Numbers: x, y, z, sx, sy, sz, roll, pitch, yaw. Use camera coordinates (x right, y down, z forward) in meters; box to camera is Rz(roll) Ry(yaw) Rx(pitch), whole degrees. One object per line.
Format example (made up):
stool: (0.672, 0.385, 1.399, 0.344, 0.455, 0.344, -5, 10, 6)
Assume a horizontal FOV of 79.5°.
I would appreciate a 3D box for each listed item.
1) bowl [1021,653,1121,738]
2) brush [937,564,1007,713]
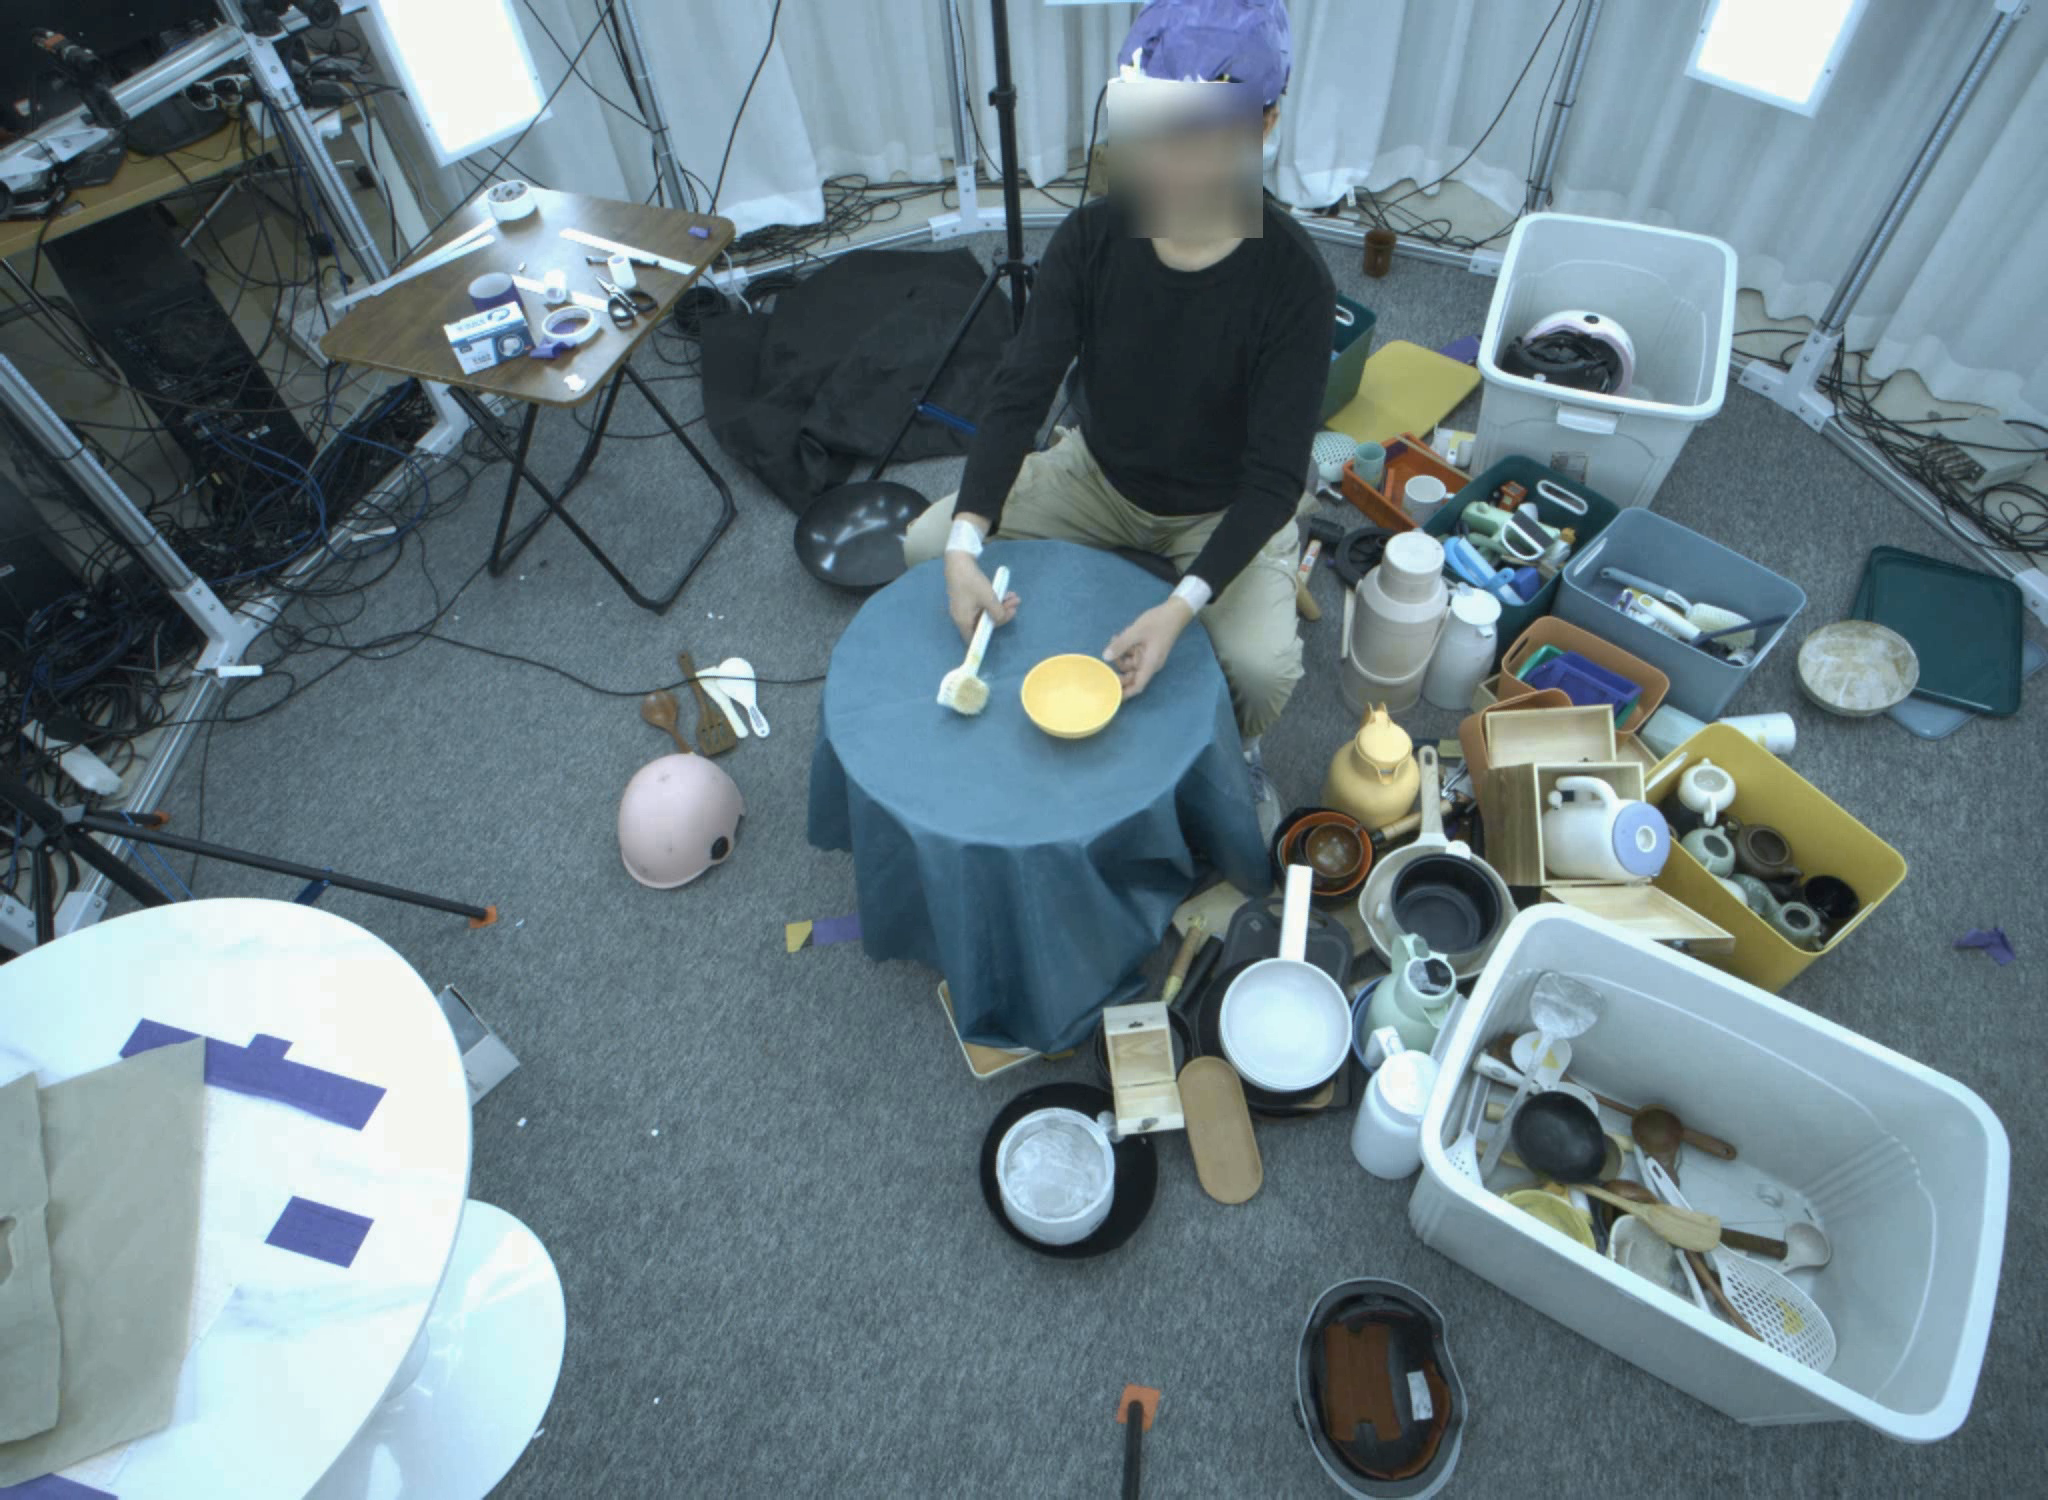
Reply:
bowl: (0.068, -0.068, 1.798, 0.145, 0.061, 0.144, 0, 55, 1)
brush: (-0.057, -0.173, 1.848, 0.055, 0.070, 0.266, 8, 61, 28)
